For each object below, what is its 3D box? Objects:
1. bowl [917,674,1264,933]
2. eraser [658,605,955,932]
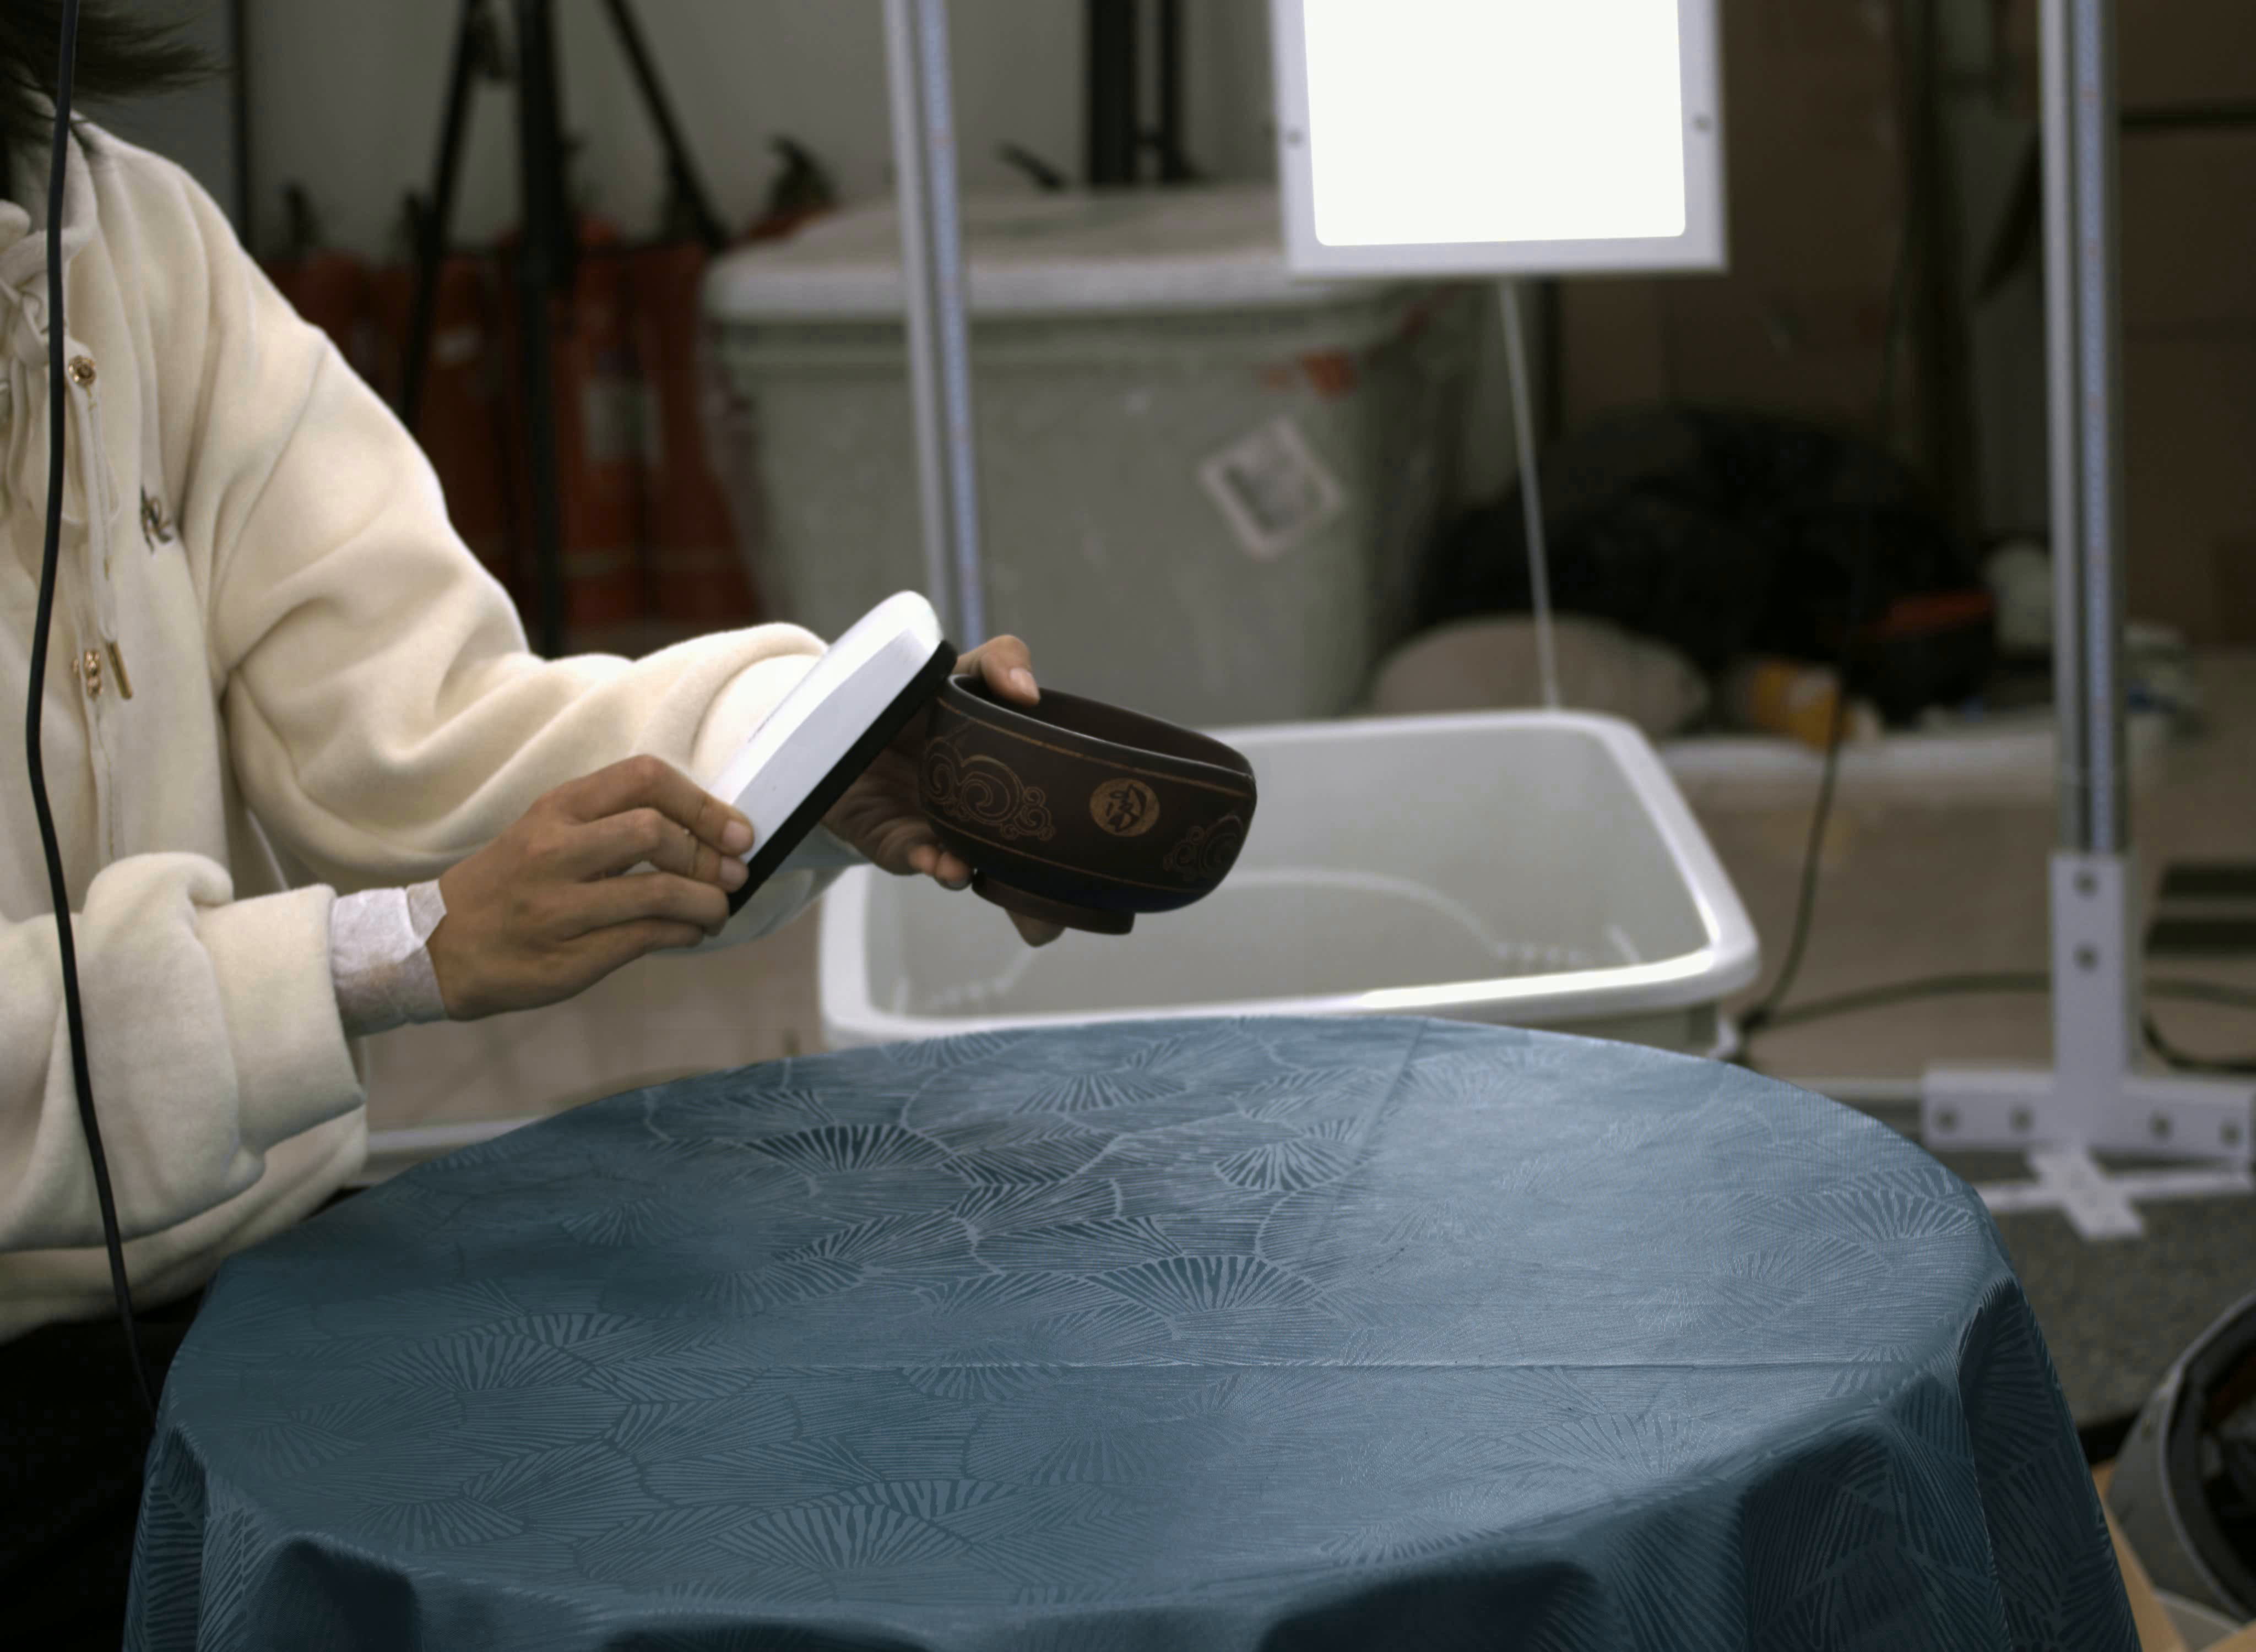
[{"bbox_3d":[-0.017,-0.004,1.886,0.117,0.070,0.118,14,6,-3],"label":"bowl"},{"bbox_3d":[-0.114,-0.022,1.907,0.132,0.034,0.063,-47,13,6],"label":"eraser"}]
